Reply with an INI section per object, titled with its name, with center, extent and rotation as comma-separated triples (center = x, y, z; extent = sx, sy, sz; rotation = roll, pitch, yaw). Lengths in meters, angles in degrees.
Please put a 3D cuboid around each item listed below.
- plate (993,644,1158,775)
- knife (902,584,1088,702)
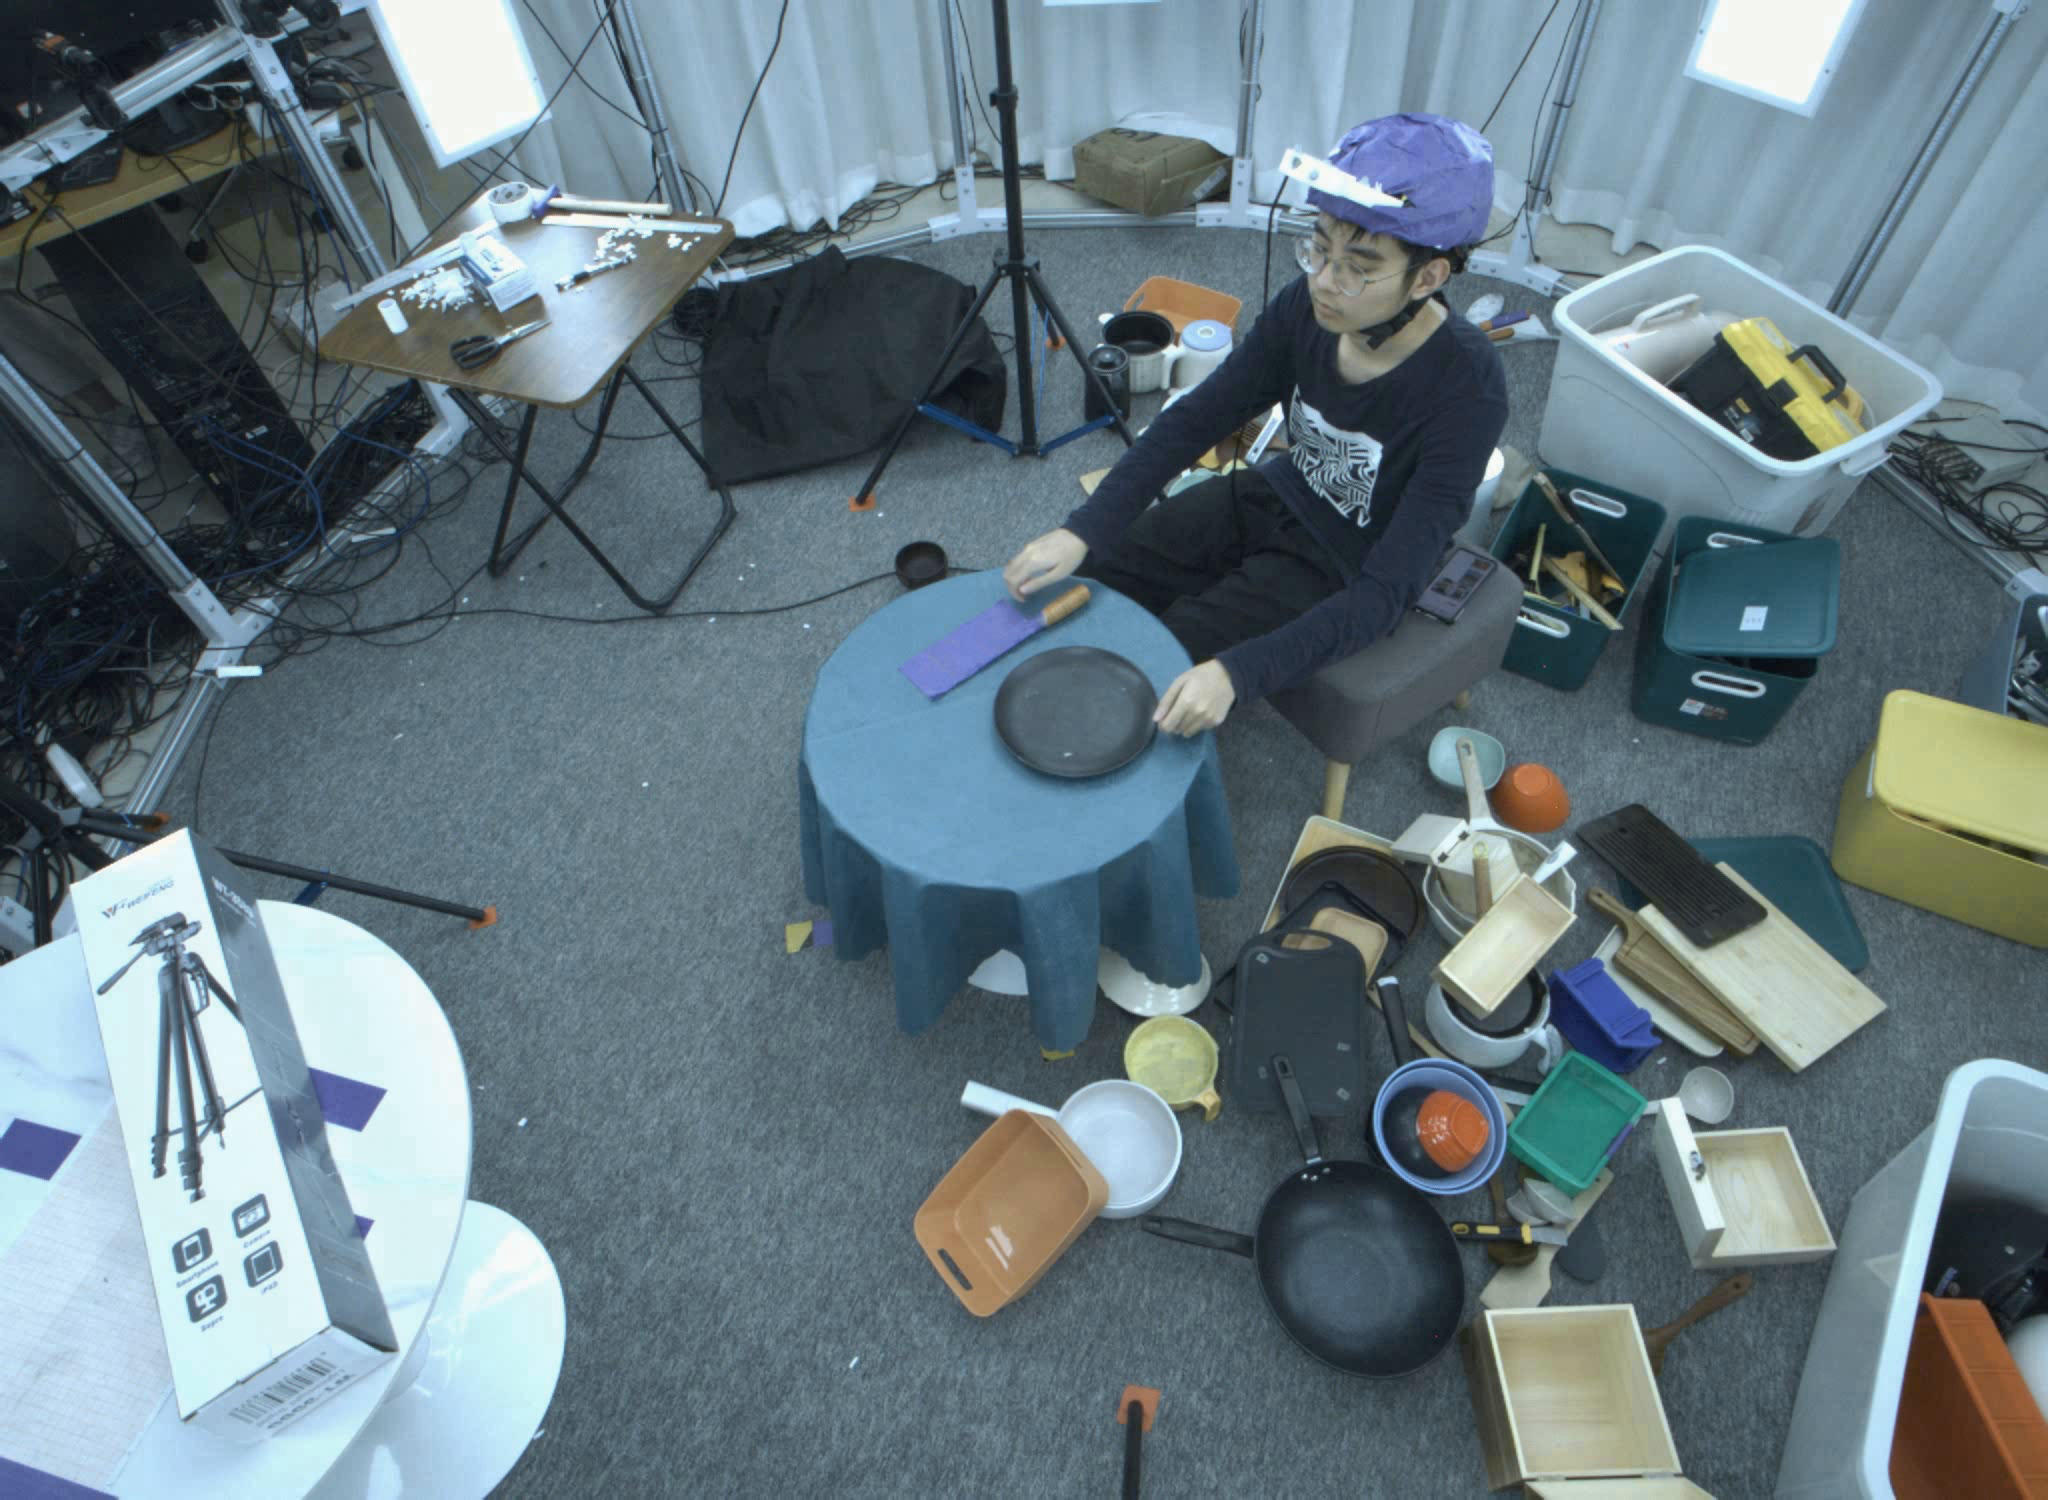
[plate]
center = 0.076, -0.058, 1.821
extent = 0.244, 0.023, 0.242
rotation = 0, 55, 1
[knife]
center = -0.047, -0.187, 1.914
extent = 0.318, 0.032, 0.102
rotation = -35, 61, -21
